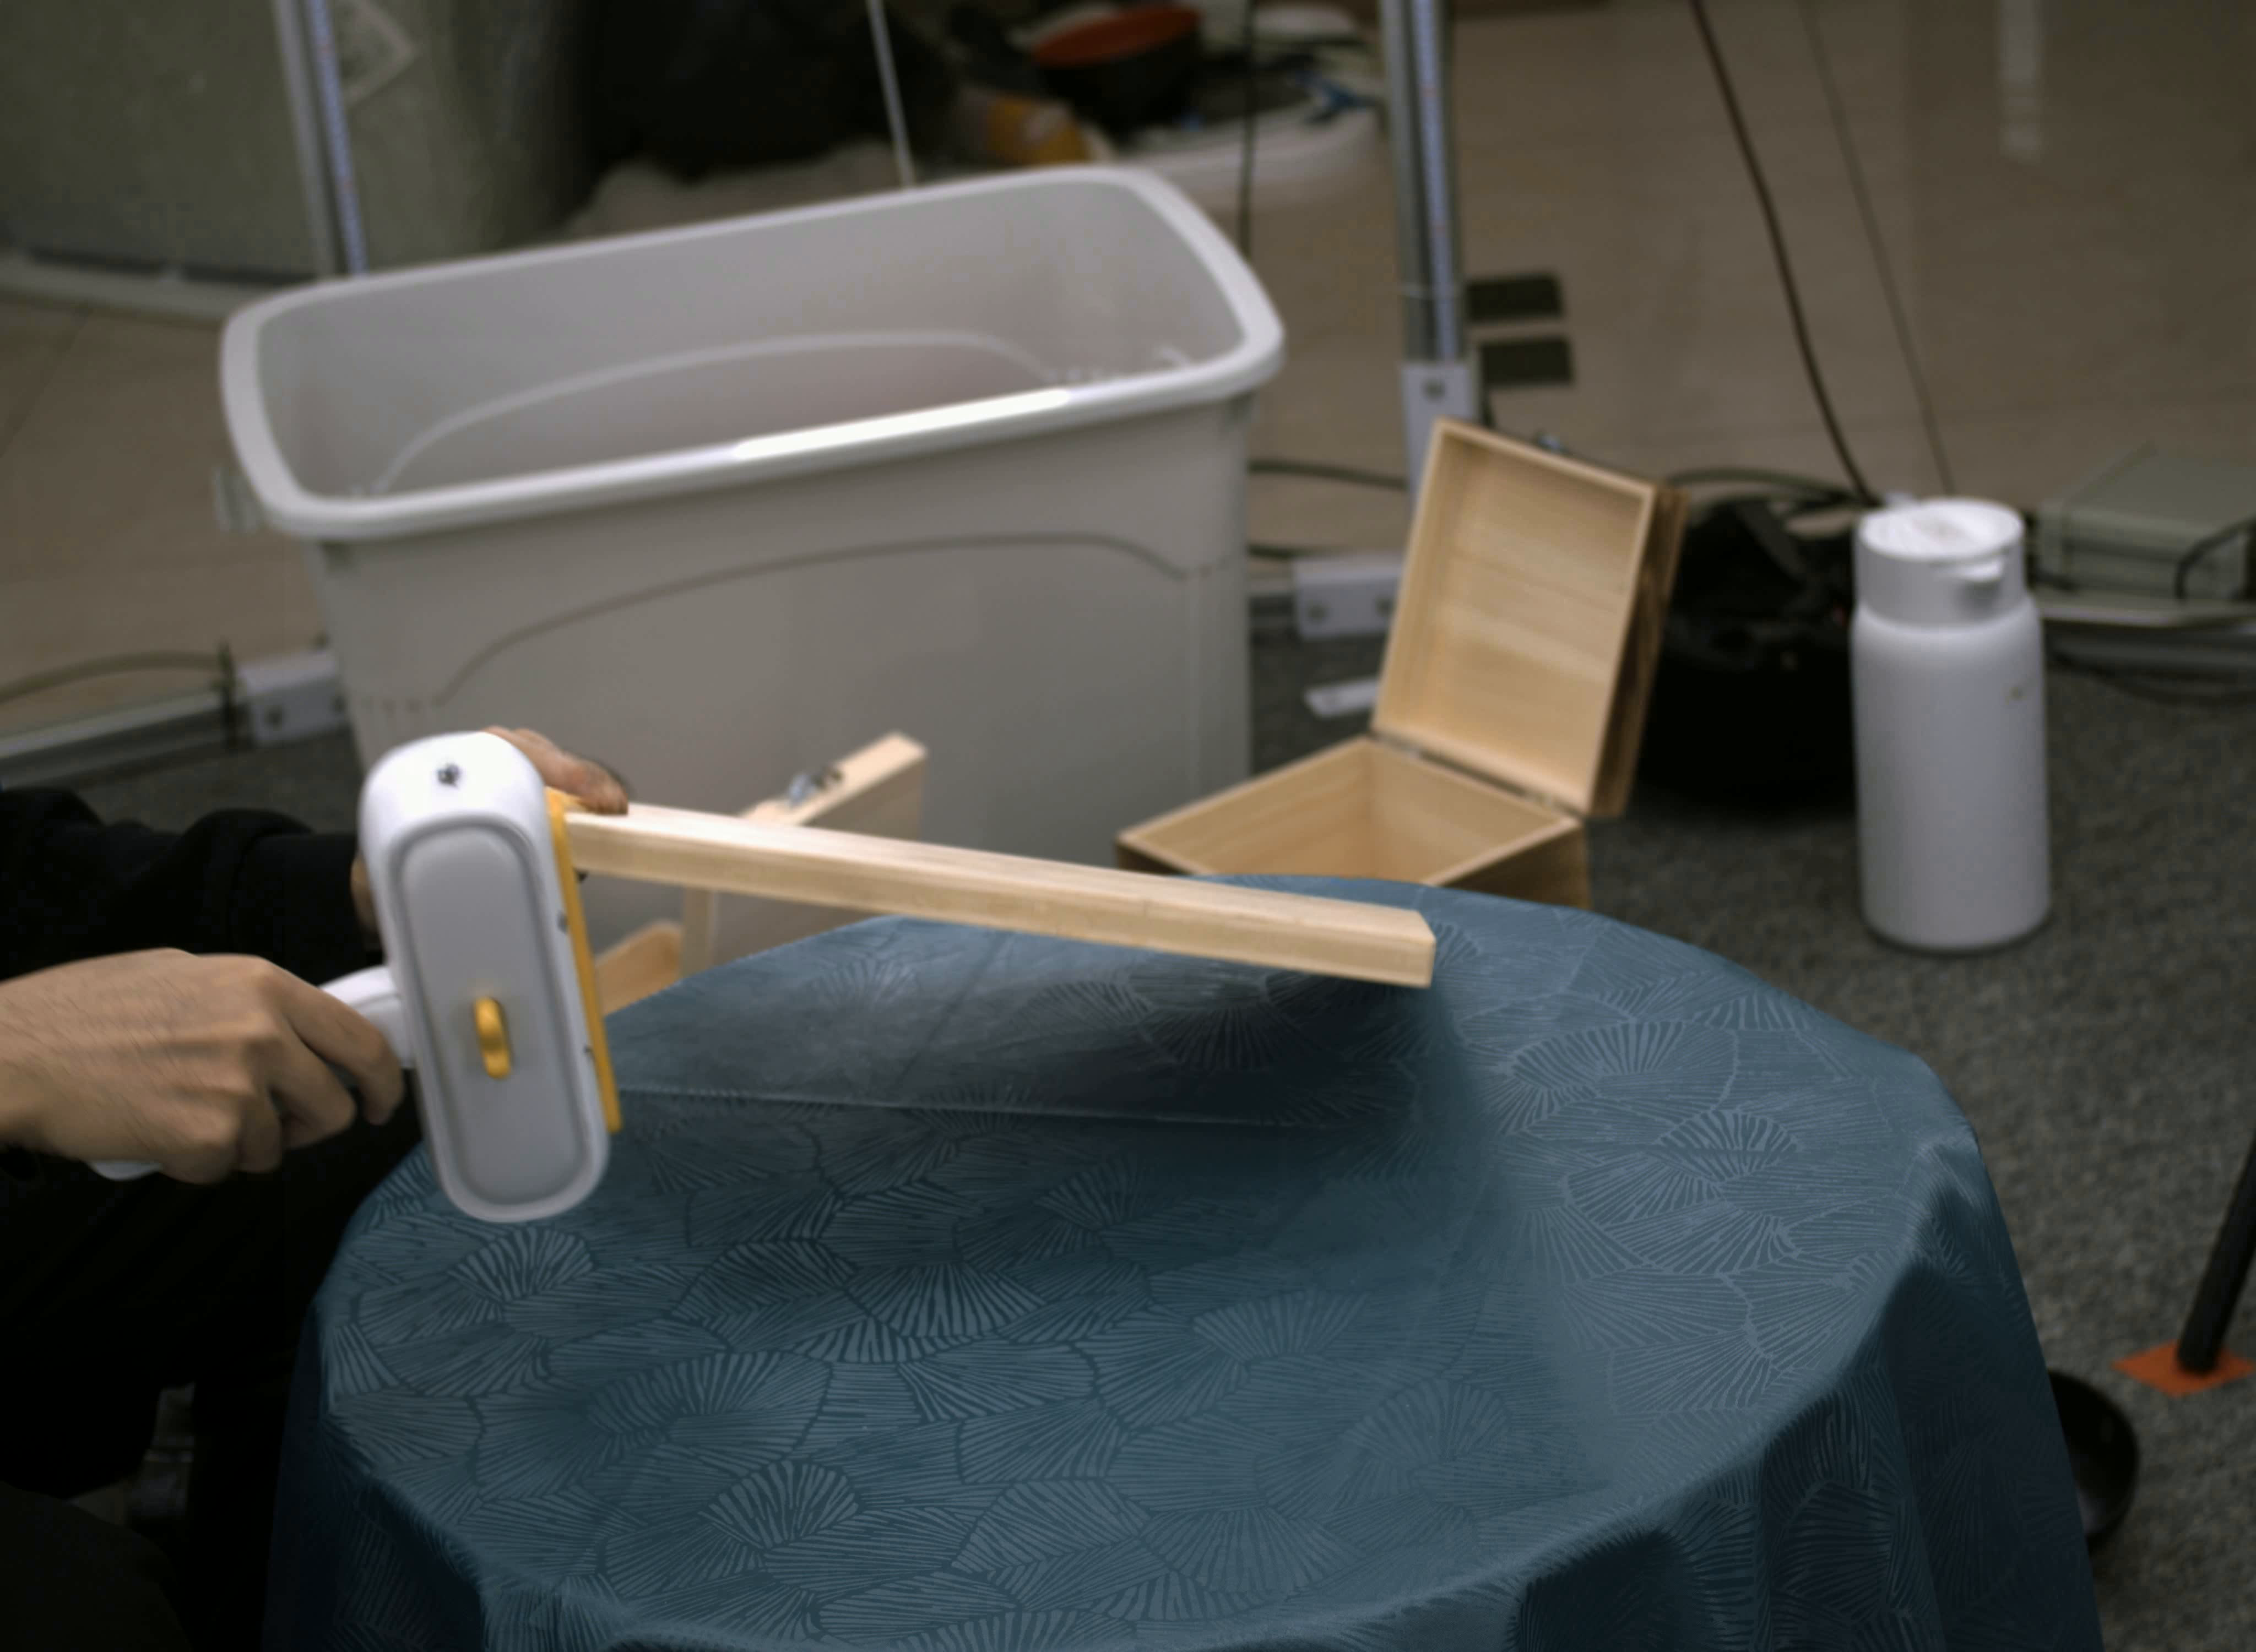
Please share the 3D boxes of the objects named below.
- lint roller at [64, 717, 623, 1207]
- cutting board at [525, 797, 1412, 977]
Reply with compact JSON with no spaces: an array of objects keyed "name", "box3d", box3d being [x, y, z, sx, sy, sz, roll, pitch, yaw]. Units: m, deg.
[{"name":"lint roller","box3d":[-0.281,0.071,1.977,0.192,0.196,0.073,-19,39,-9]},{"name":"cutting board","box3d":[-0.059,0.023,2.190,0.348,0.023,0.250,8,1,0]}]
